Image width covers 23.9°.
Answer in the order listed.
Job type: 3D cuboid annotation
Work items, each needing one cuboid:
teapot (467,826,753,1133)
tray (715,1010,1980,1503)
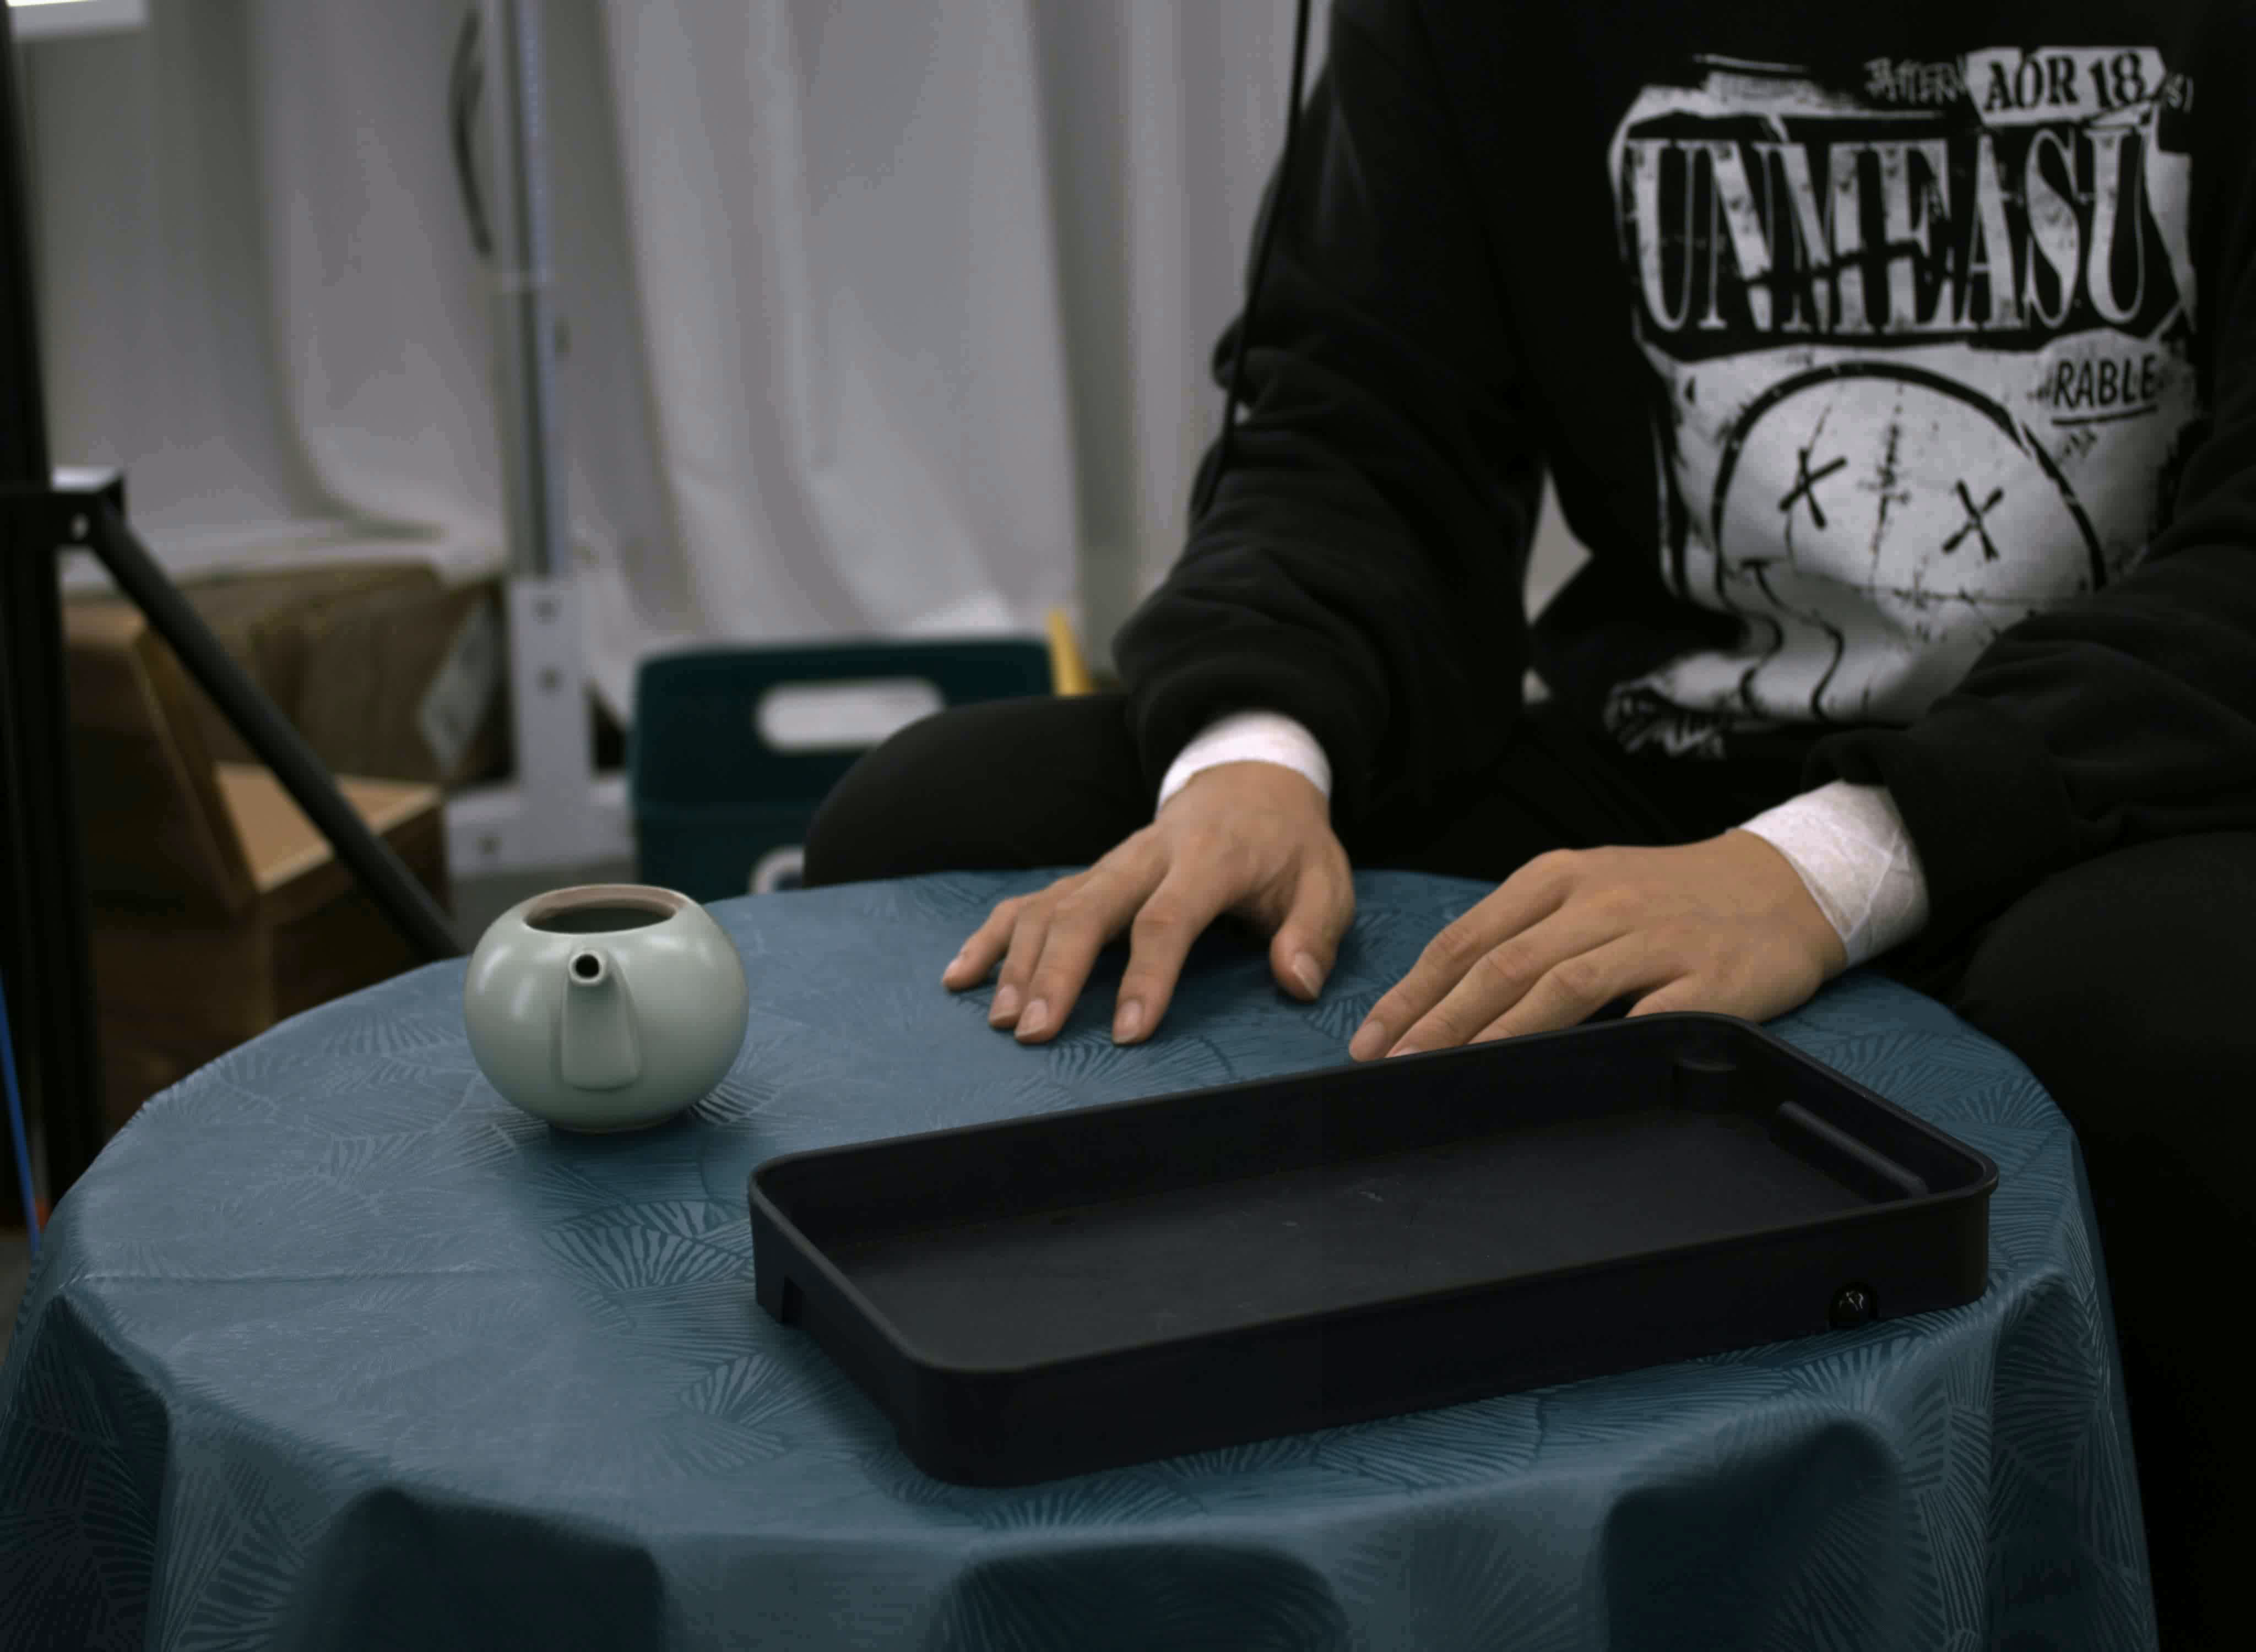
[{"bbox_3d":[-0.159,0.053,1.641,0.088,0.074,0.144,-2,17,1],"label":"teapot"},{"bbox_3d":[0.060,0.113,1.461,0.312,0.037,0.188,-9,17,-20],"label":"tray"}]
